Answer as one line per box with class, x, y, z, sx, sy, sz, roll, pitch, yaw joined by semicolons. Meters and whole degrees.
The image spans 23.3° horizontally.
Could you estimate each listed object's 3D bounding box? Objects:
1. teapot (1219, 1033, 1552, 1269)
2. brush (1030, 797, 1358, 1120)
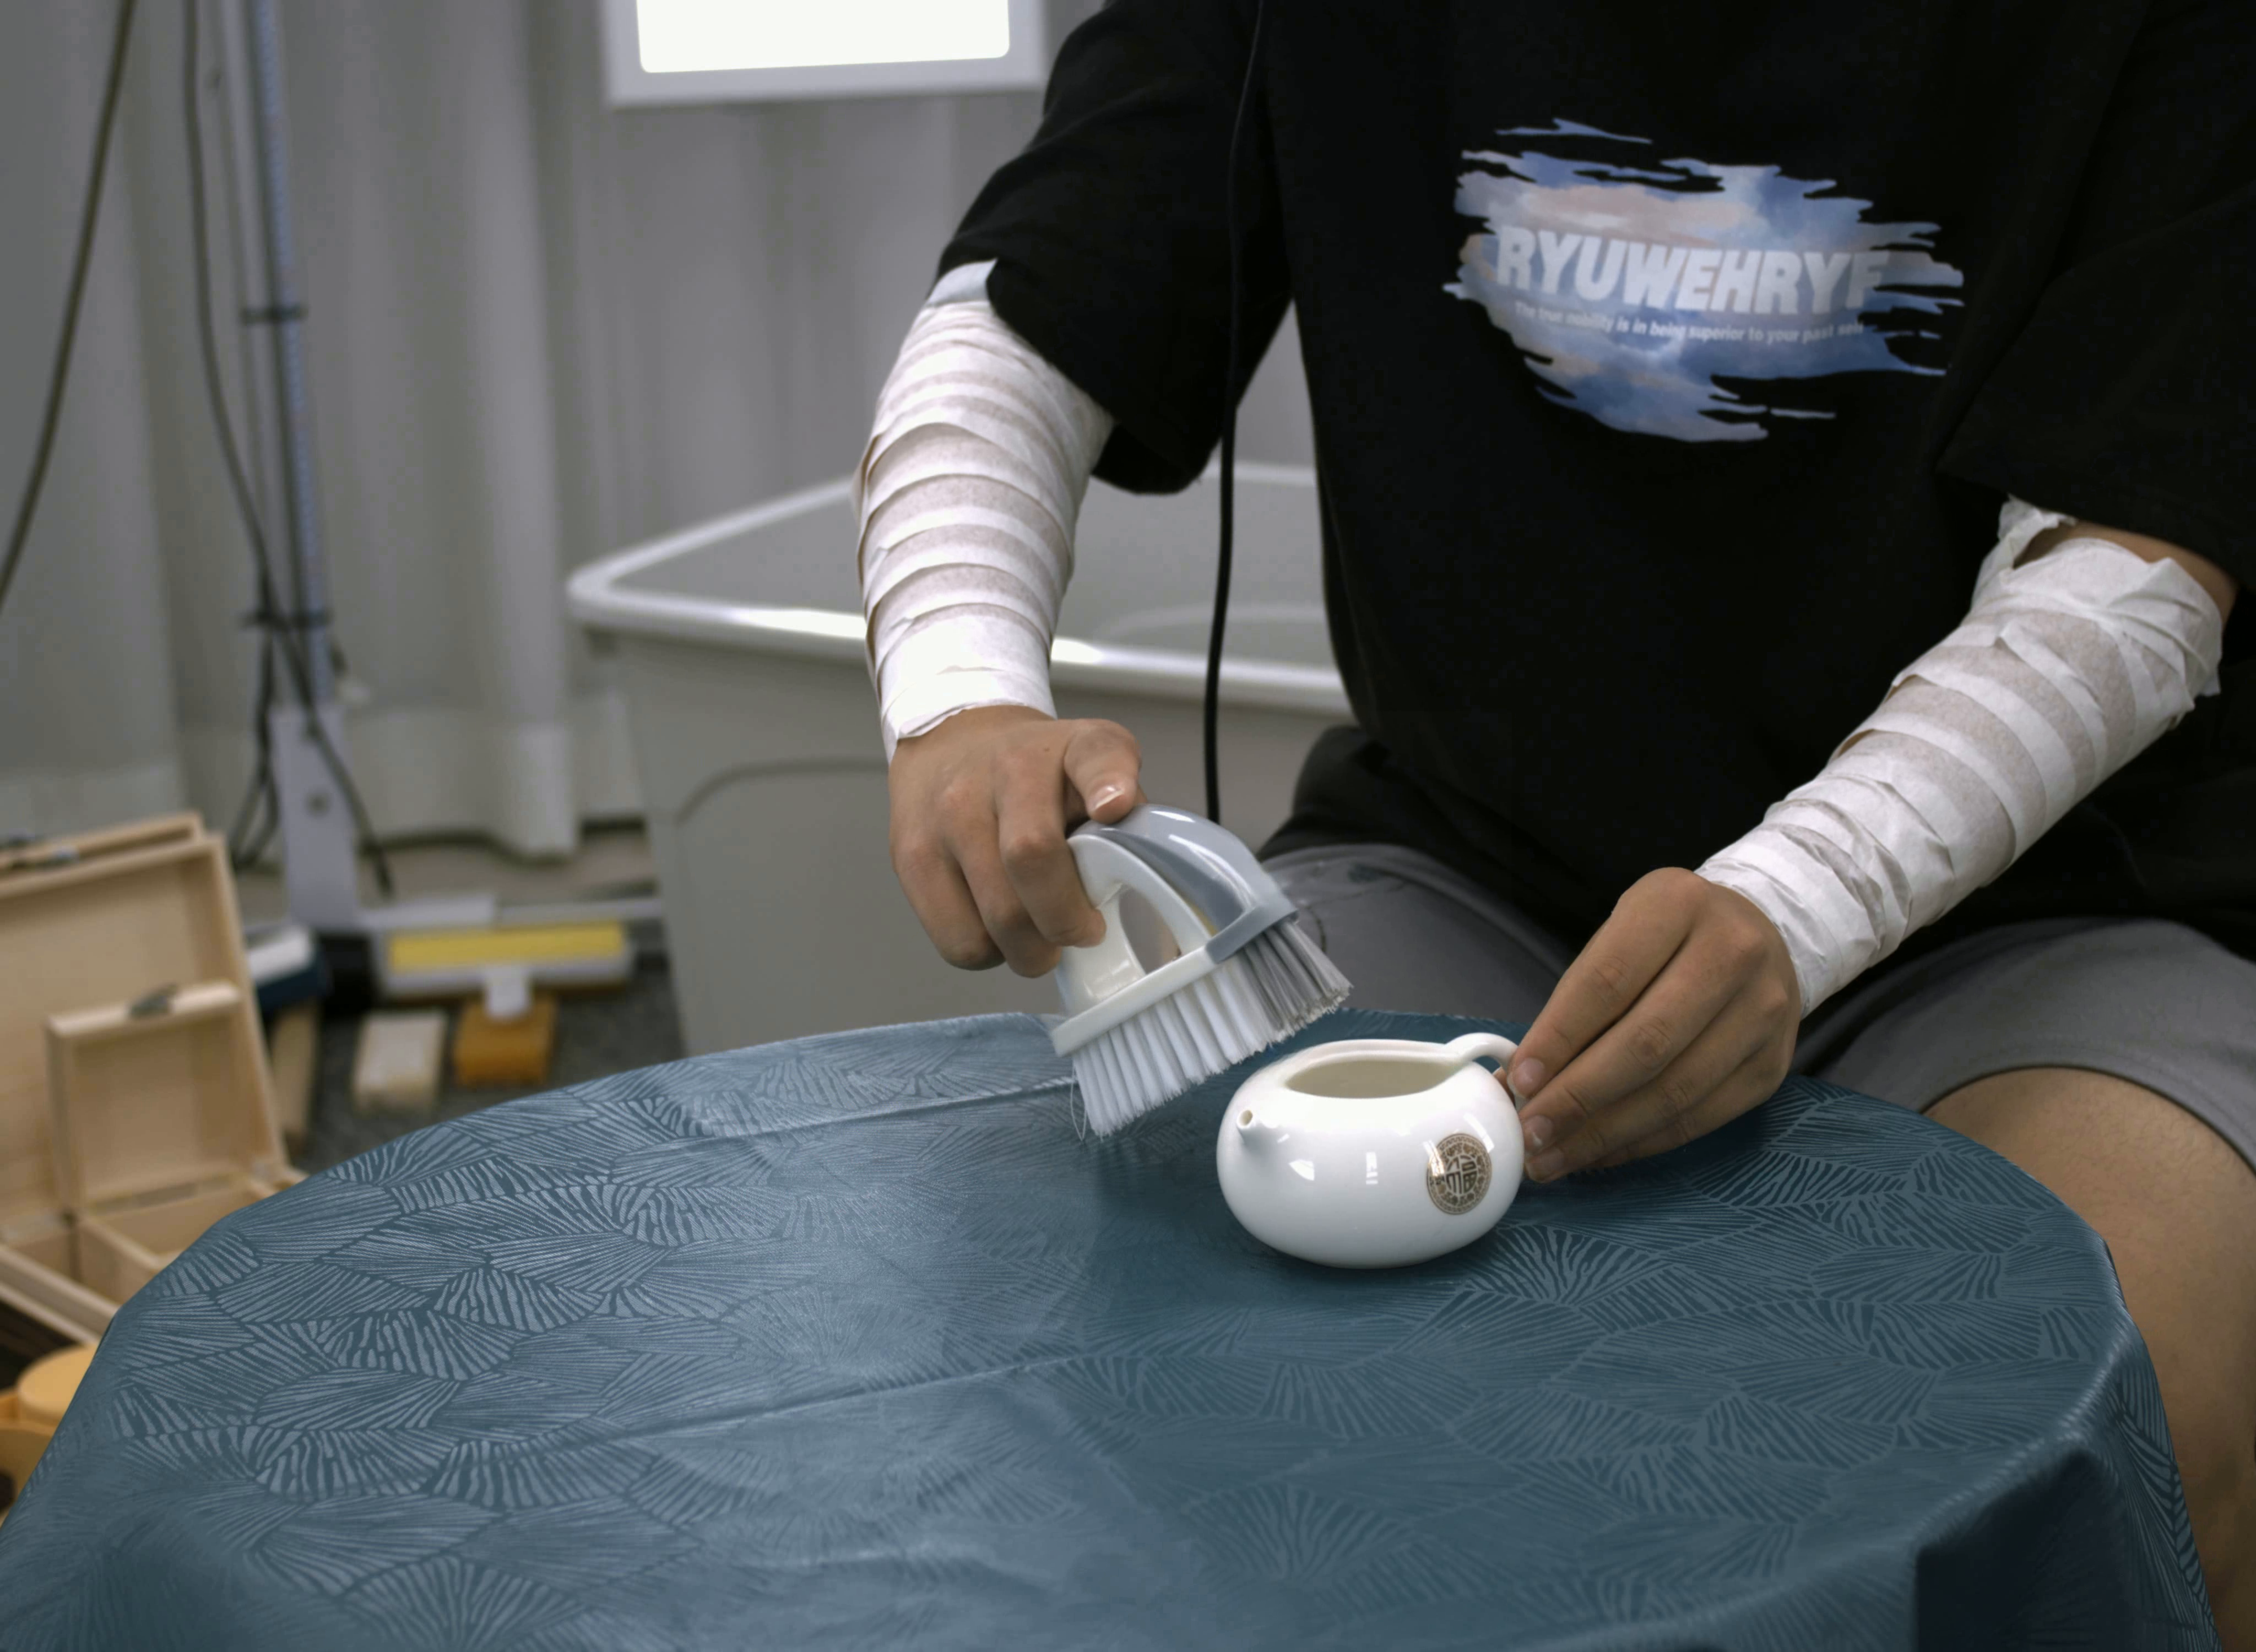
teapot;0.082;0.097;1.658;0.127;0.056;0.094;-15;15;-43
brush;0.017;0.031;1.702;0.061;0.094;0.175;-31;0;-22
